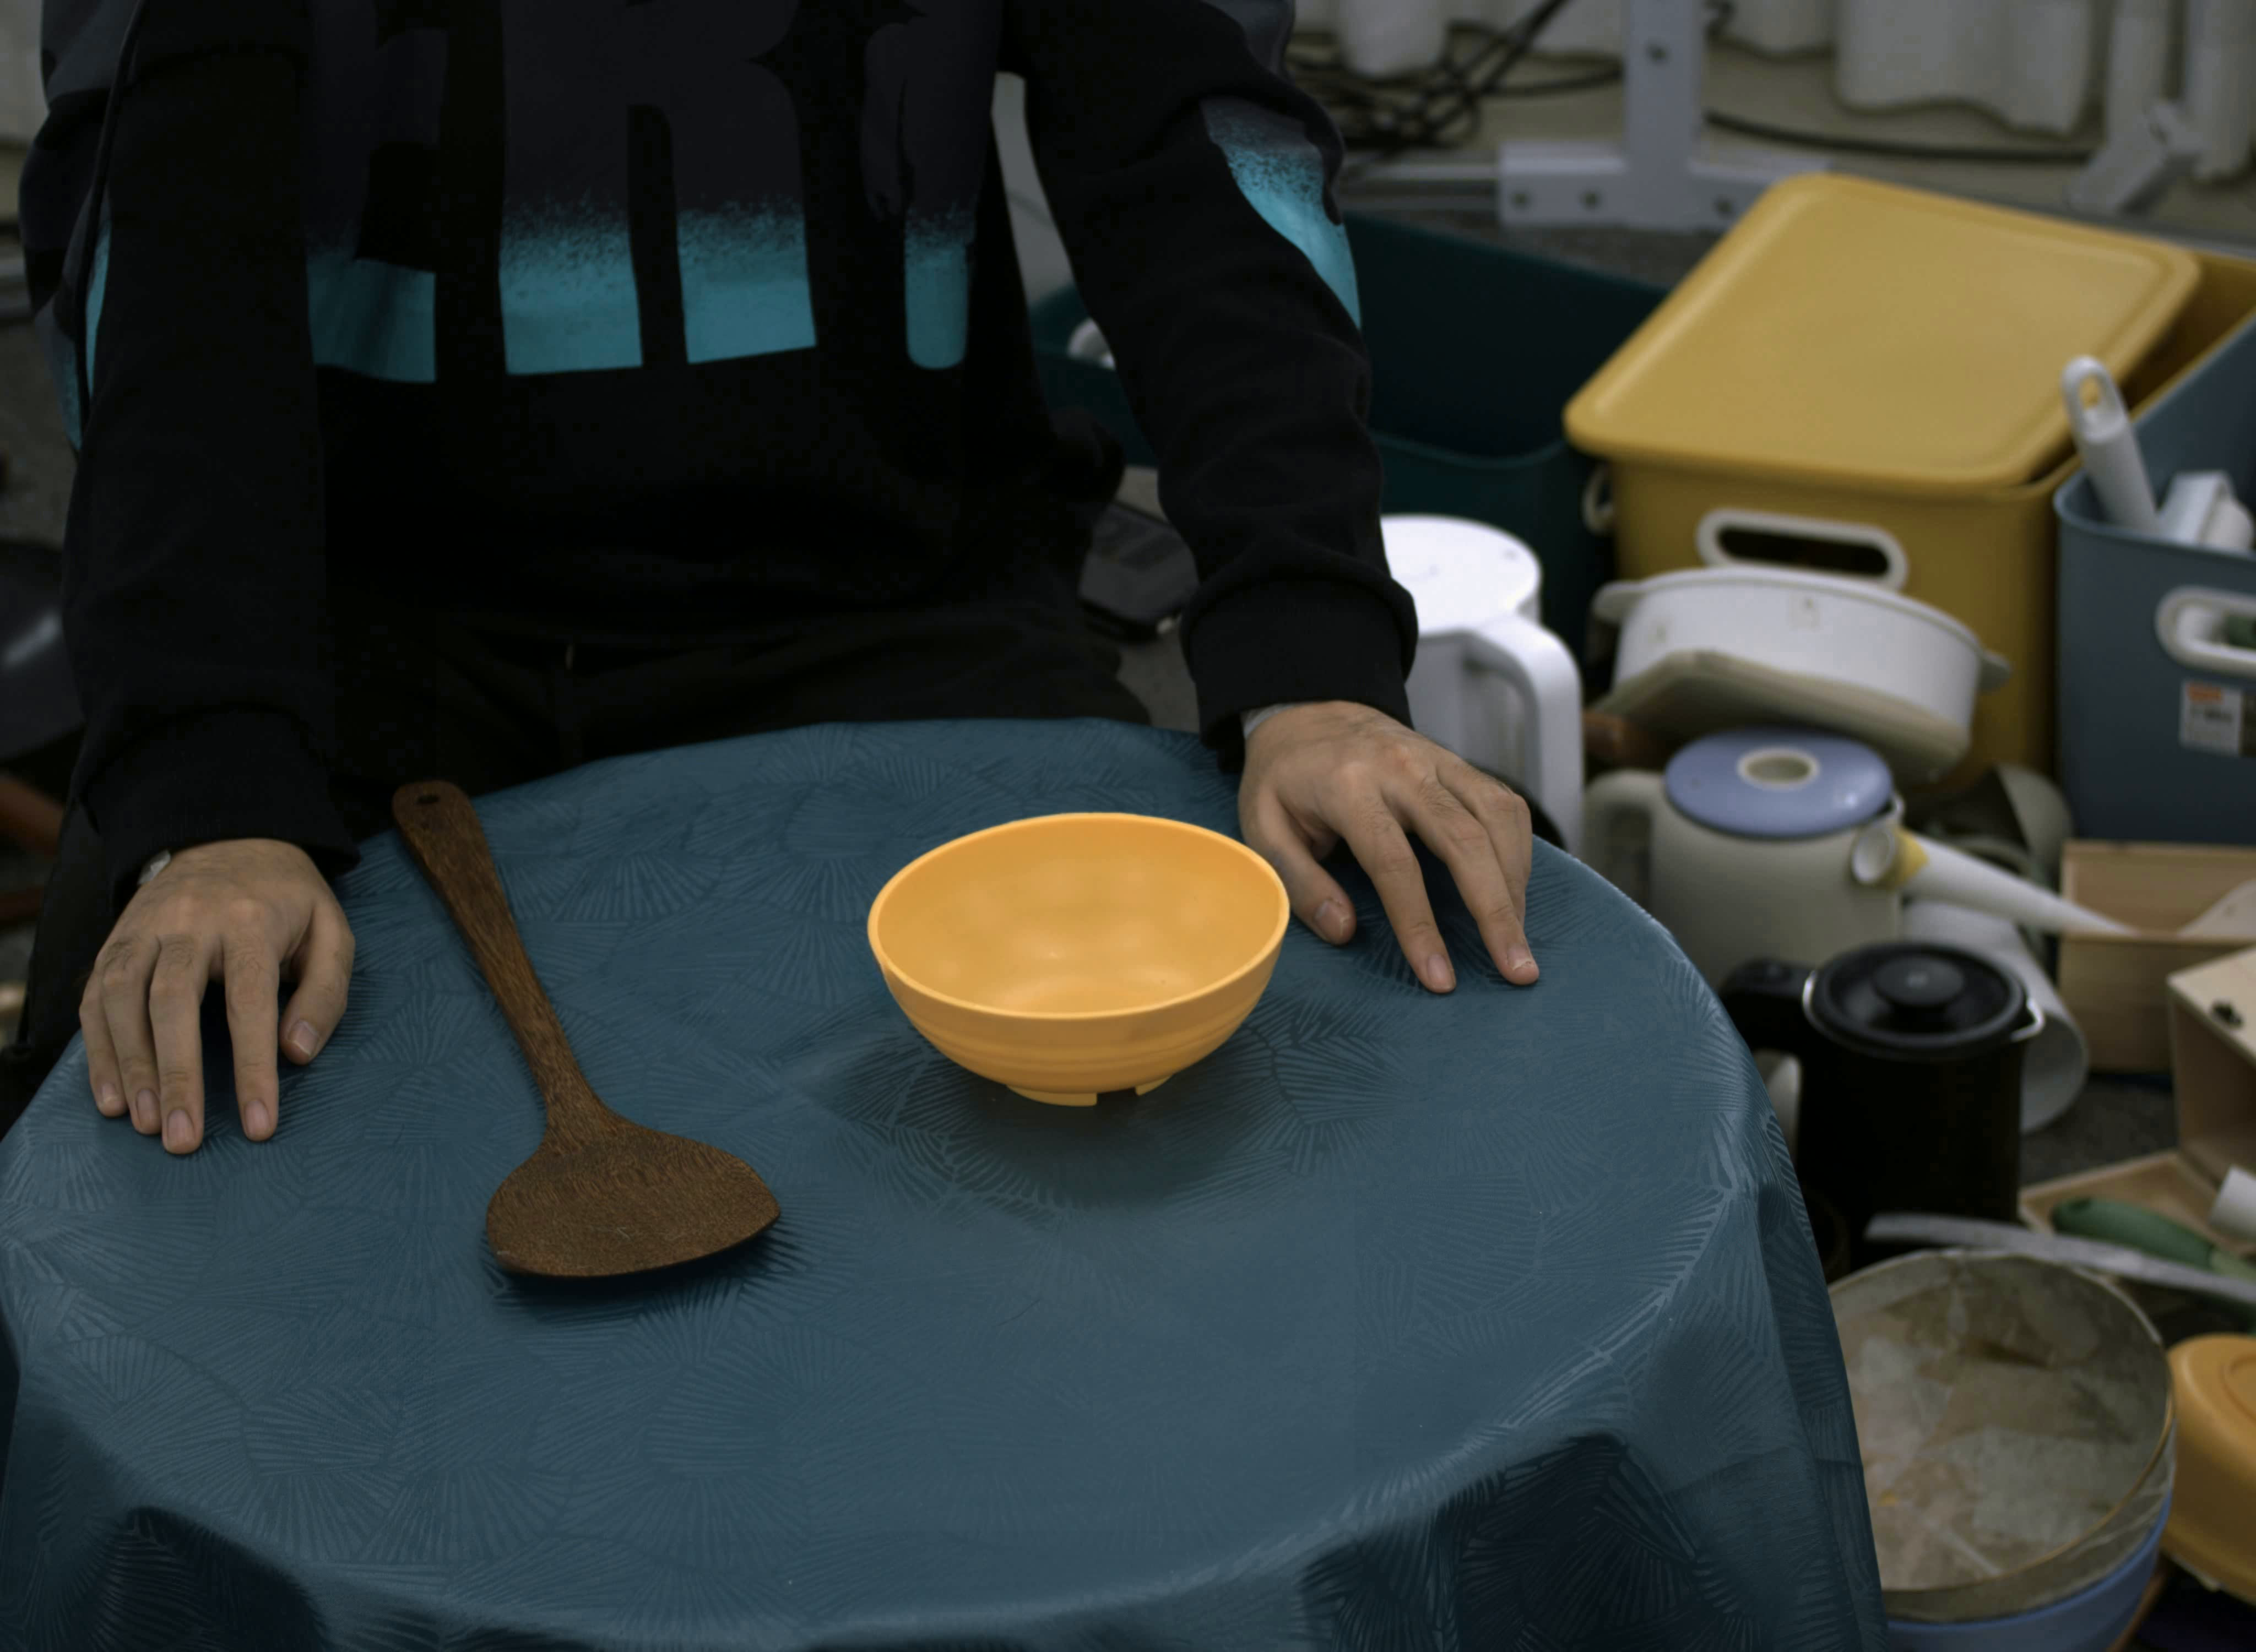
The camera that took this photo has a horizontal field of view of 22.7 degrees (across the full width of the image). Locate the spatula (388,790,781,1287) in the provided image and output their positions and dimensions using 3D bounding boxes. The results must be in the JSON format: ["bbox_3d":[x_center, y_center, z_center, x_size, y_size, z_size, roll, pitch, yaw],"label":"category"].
[{"bbox_3d":[-0.211,0.067,1.976,0.096,0.015,0.389,-10,28,-15],"label":"spatula"}]

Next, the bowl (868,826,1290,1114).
[{"bbox_3d":[-0.016,0.058,1.928,0.144,0.059,0.147,-1,25,1],"label":"bowl"}]
